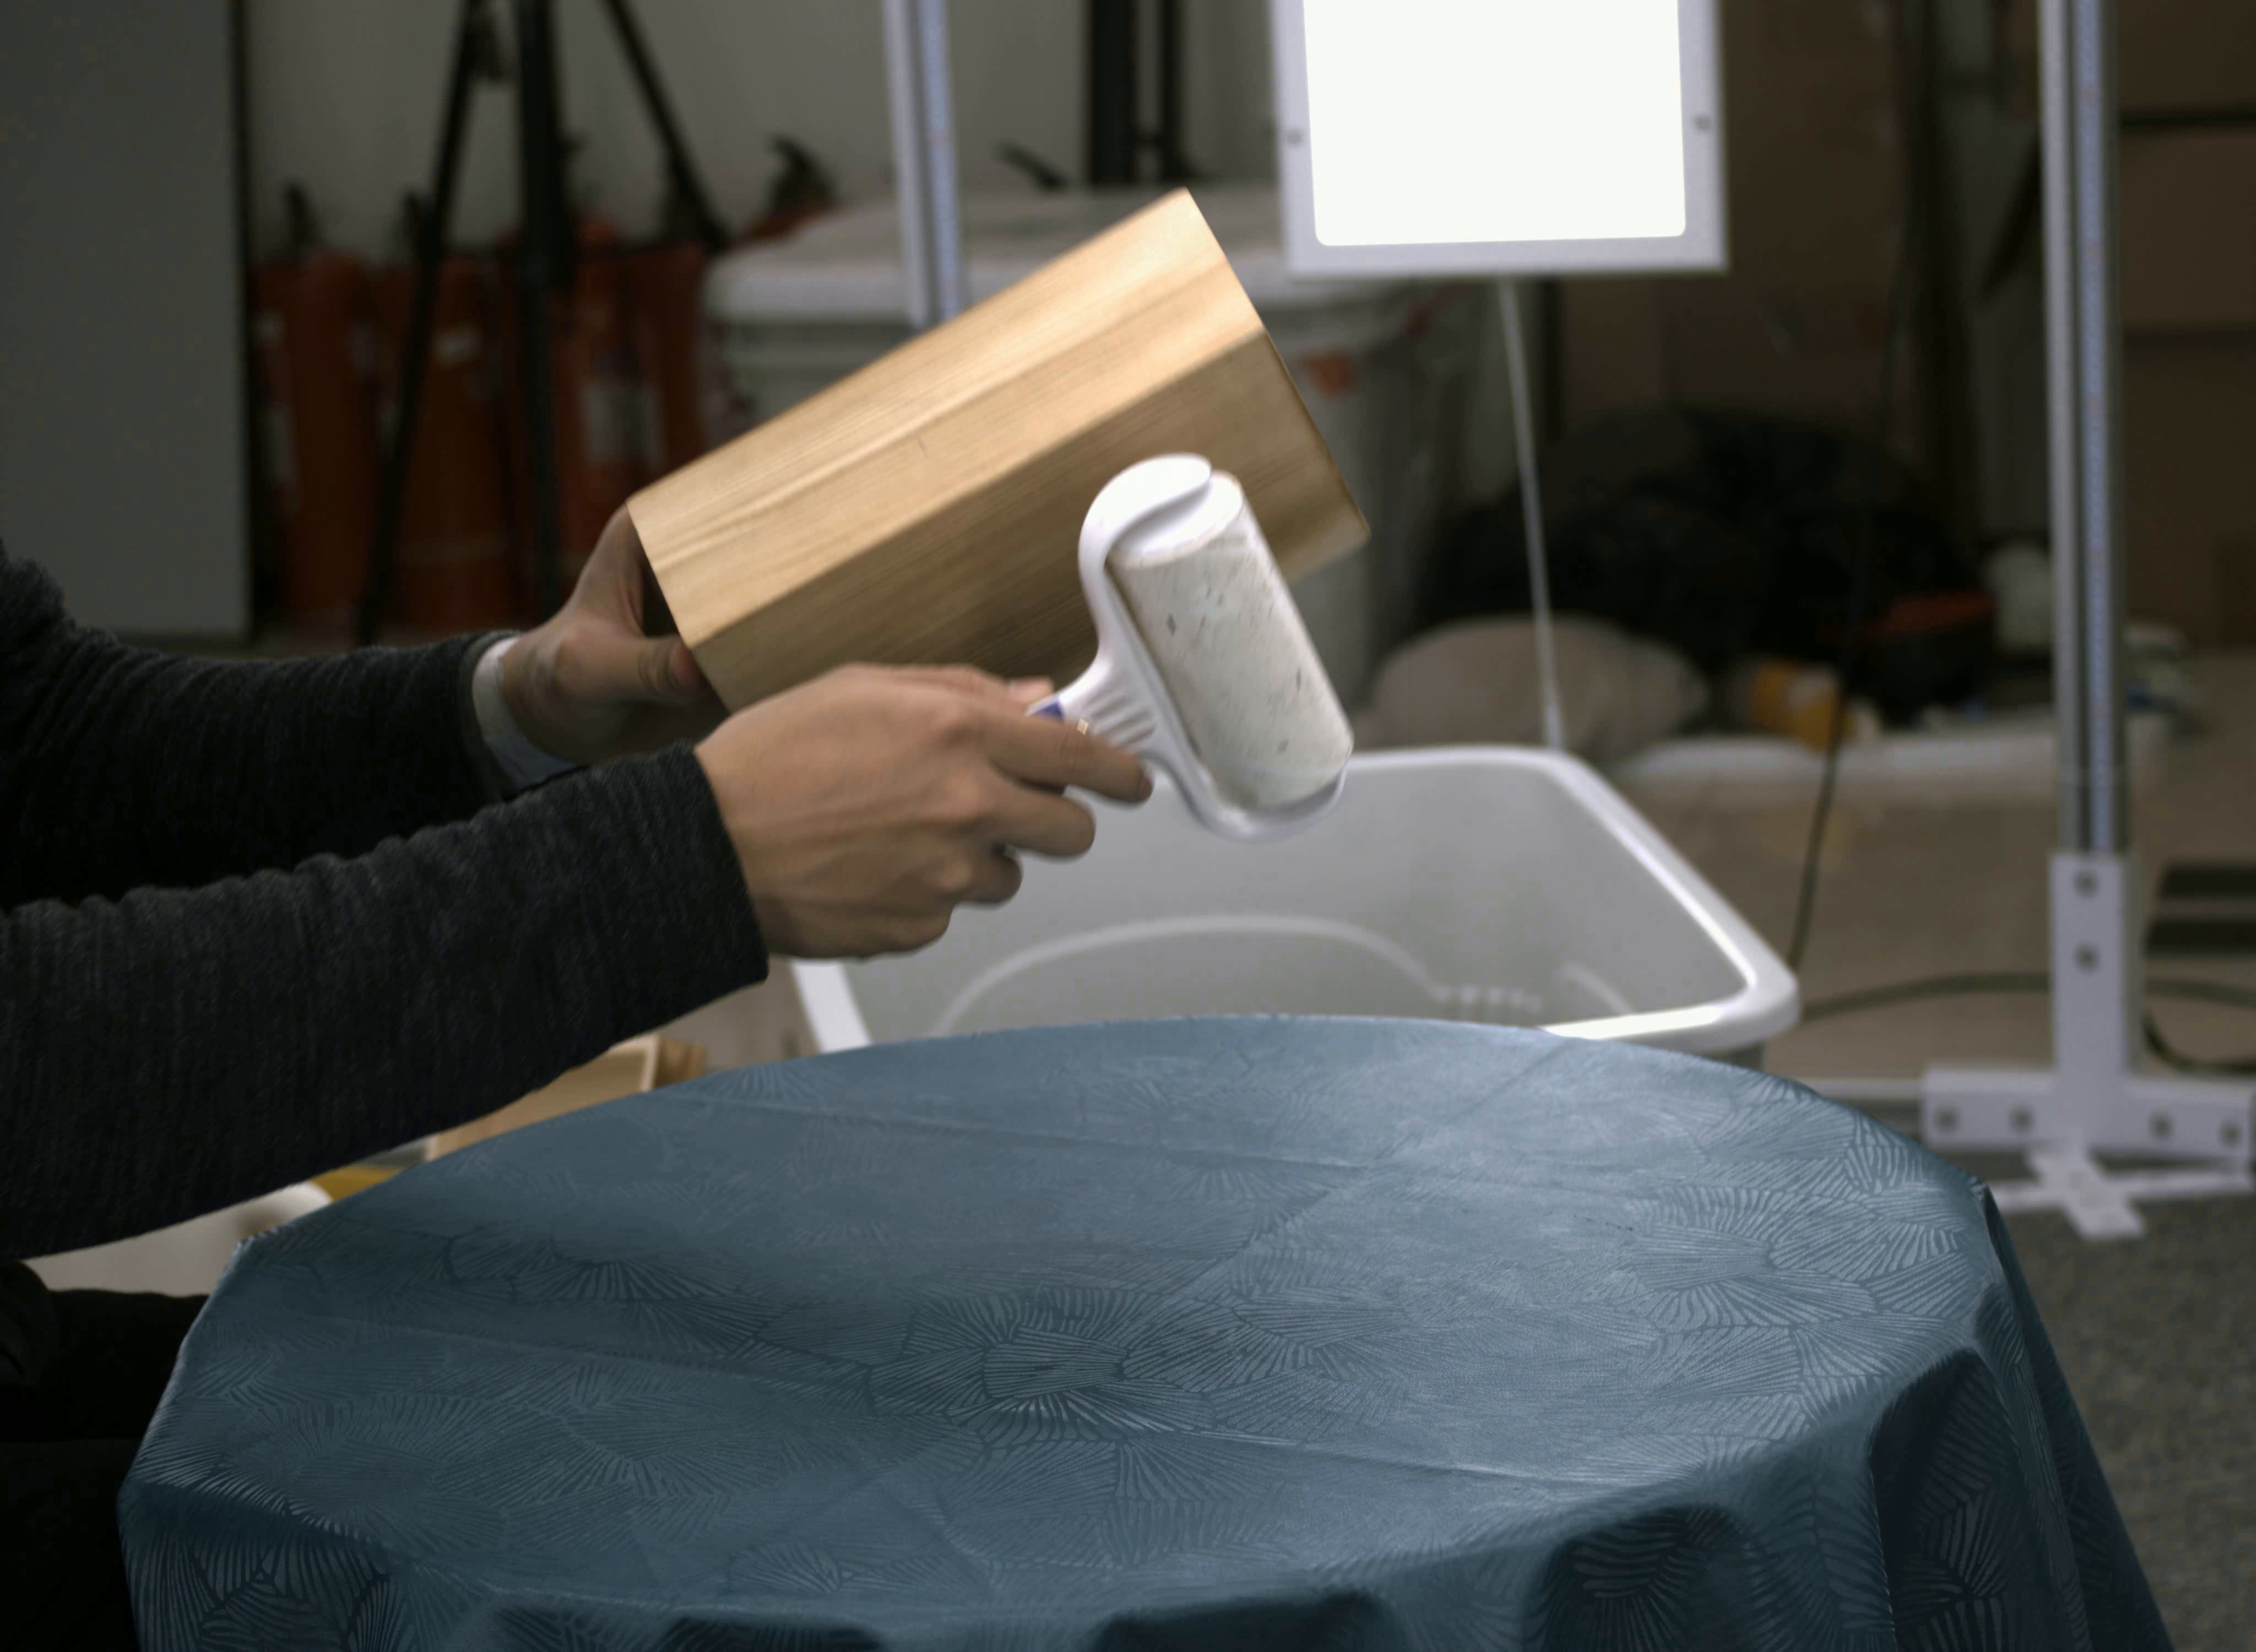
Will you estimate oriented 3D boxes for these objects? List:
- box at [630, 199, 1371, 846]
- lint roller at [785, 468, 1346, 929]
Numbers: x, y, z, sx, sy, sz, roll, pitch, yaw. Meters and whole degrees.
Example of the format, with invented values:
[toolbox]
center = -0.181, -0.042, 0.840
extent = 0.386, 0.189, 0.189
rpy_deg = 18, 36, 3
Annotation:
[box]
center = -0.041, -0.097, 1.802
extent = 0.212, 0.106, 0.081
rpy_deg = -28, 45, 4
[lint roller]
center = -0.024, -0.019, 1.697
extent = 0.179, 0.132, 0.051
rpy_deg = -33, 32, -13
